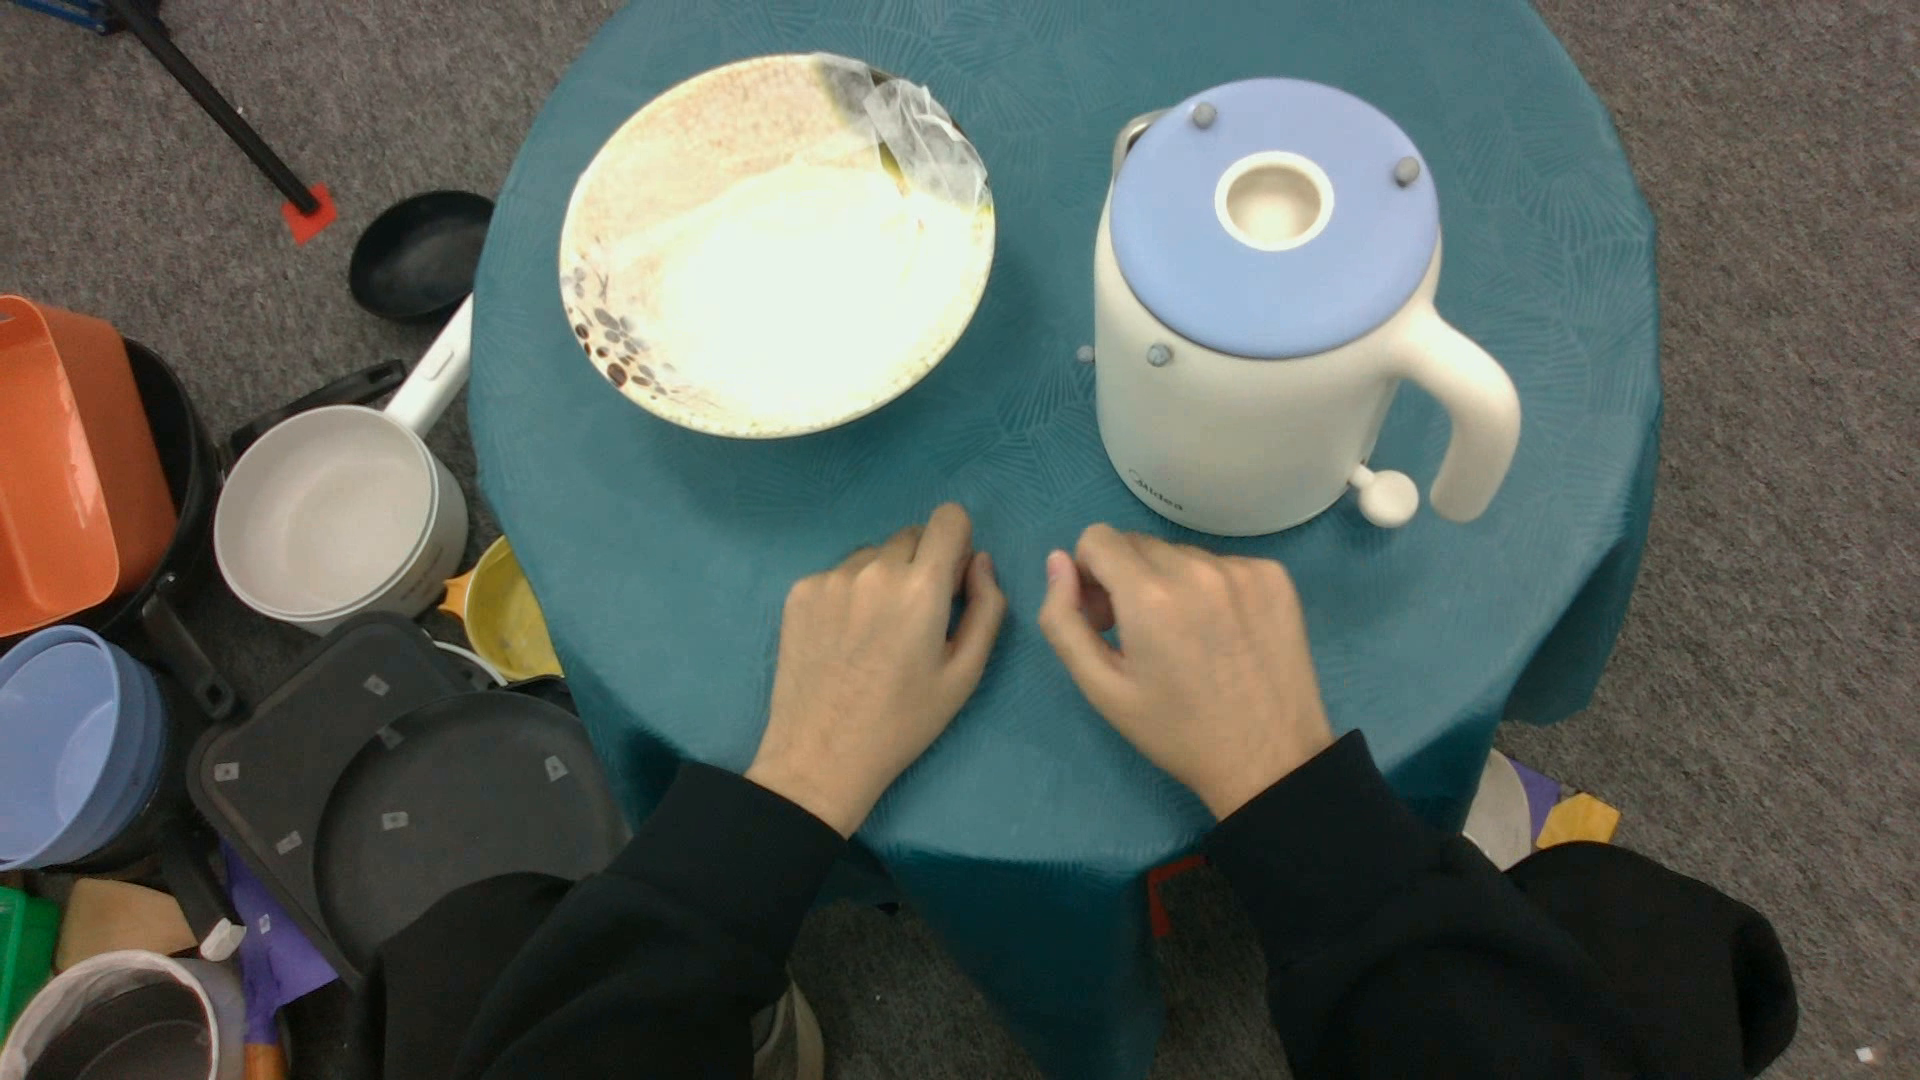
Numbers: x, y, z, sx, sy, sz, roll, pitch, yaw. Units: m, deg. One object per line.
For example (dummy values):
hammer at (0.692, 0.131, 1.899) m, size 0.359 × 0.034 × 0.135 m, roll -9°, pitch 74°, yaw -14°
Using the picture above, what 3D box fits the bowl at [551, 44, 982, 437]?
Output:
bowl at (-0.087, -0.133, 0.671) m, size 0.204 × 0.078 × 0.204 m, roll -2°, pitch 73°, yaw 6°

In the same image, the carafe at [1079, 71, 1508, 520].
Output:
carafe at (0.136, -0.082, 0.579) m, size 0.191 × 0.182 × 0.132 m, roll 35°, pitch 77°, yaw 14°
